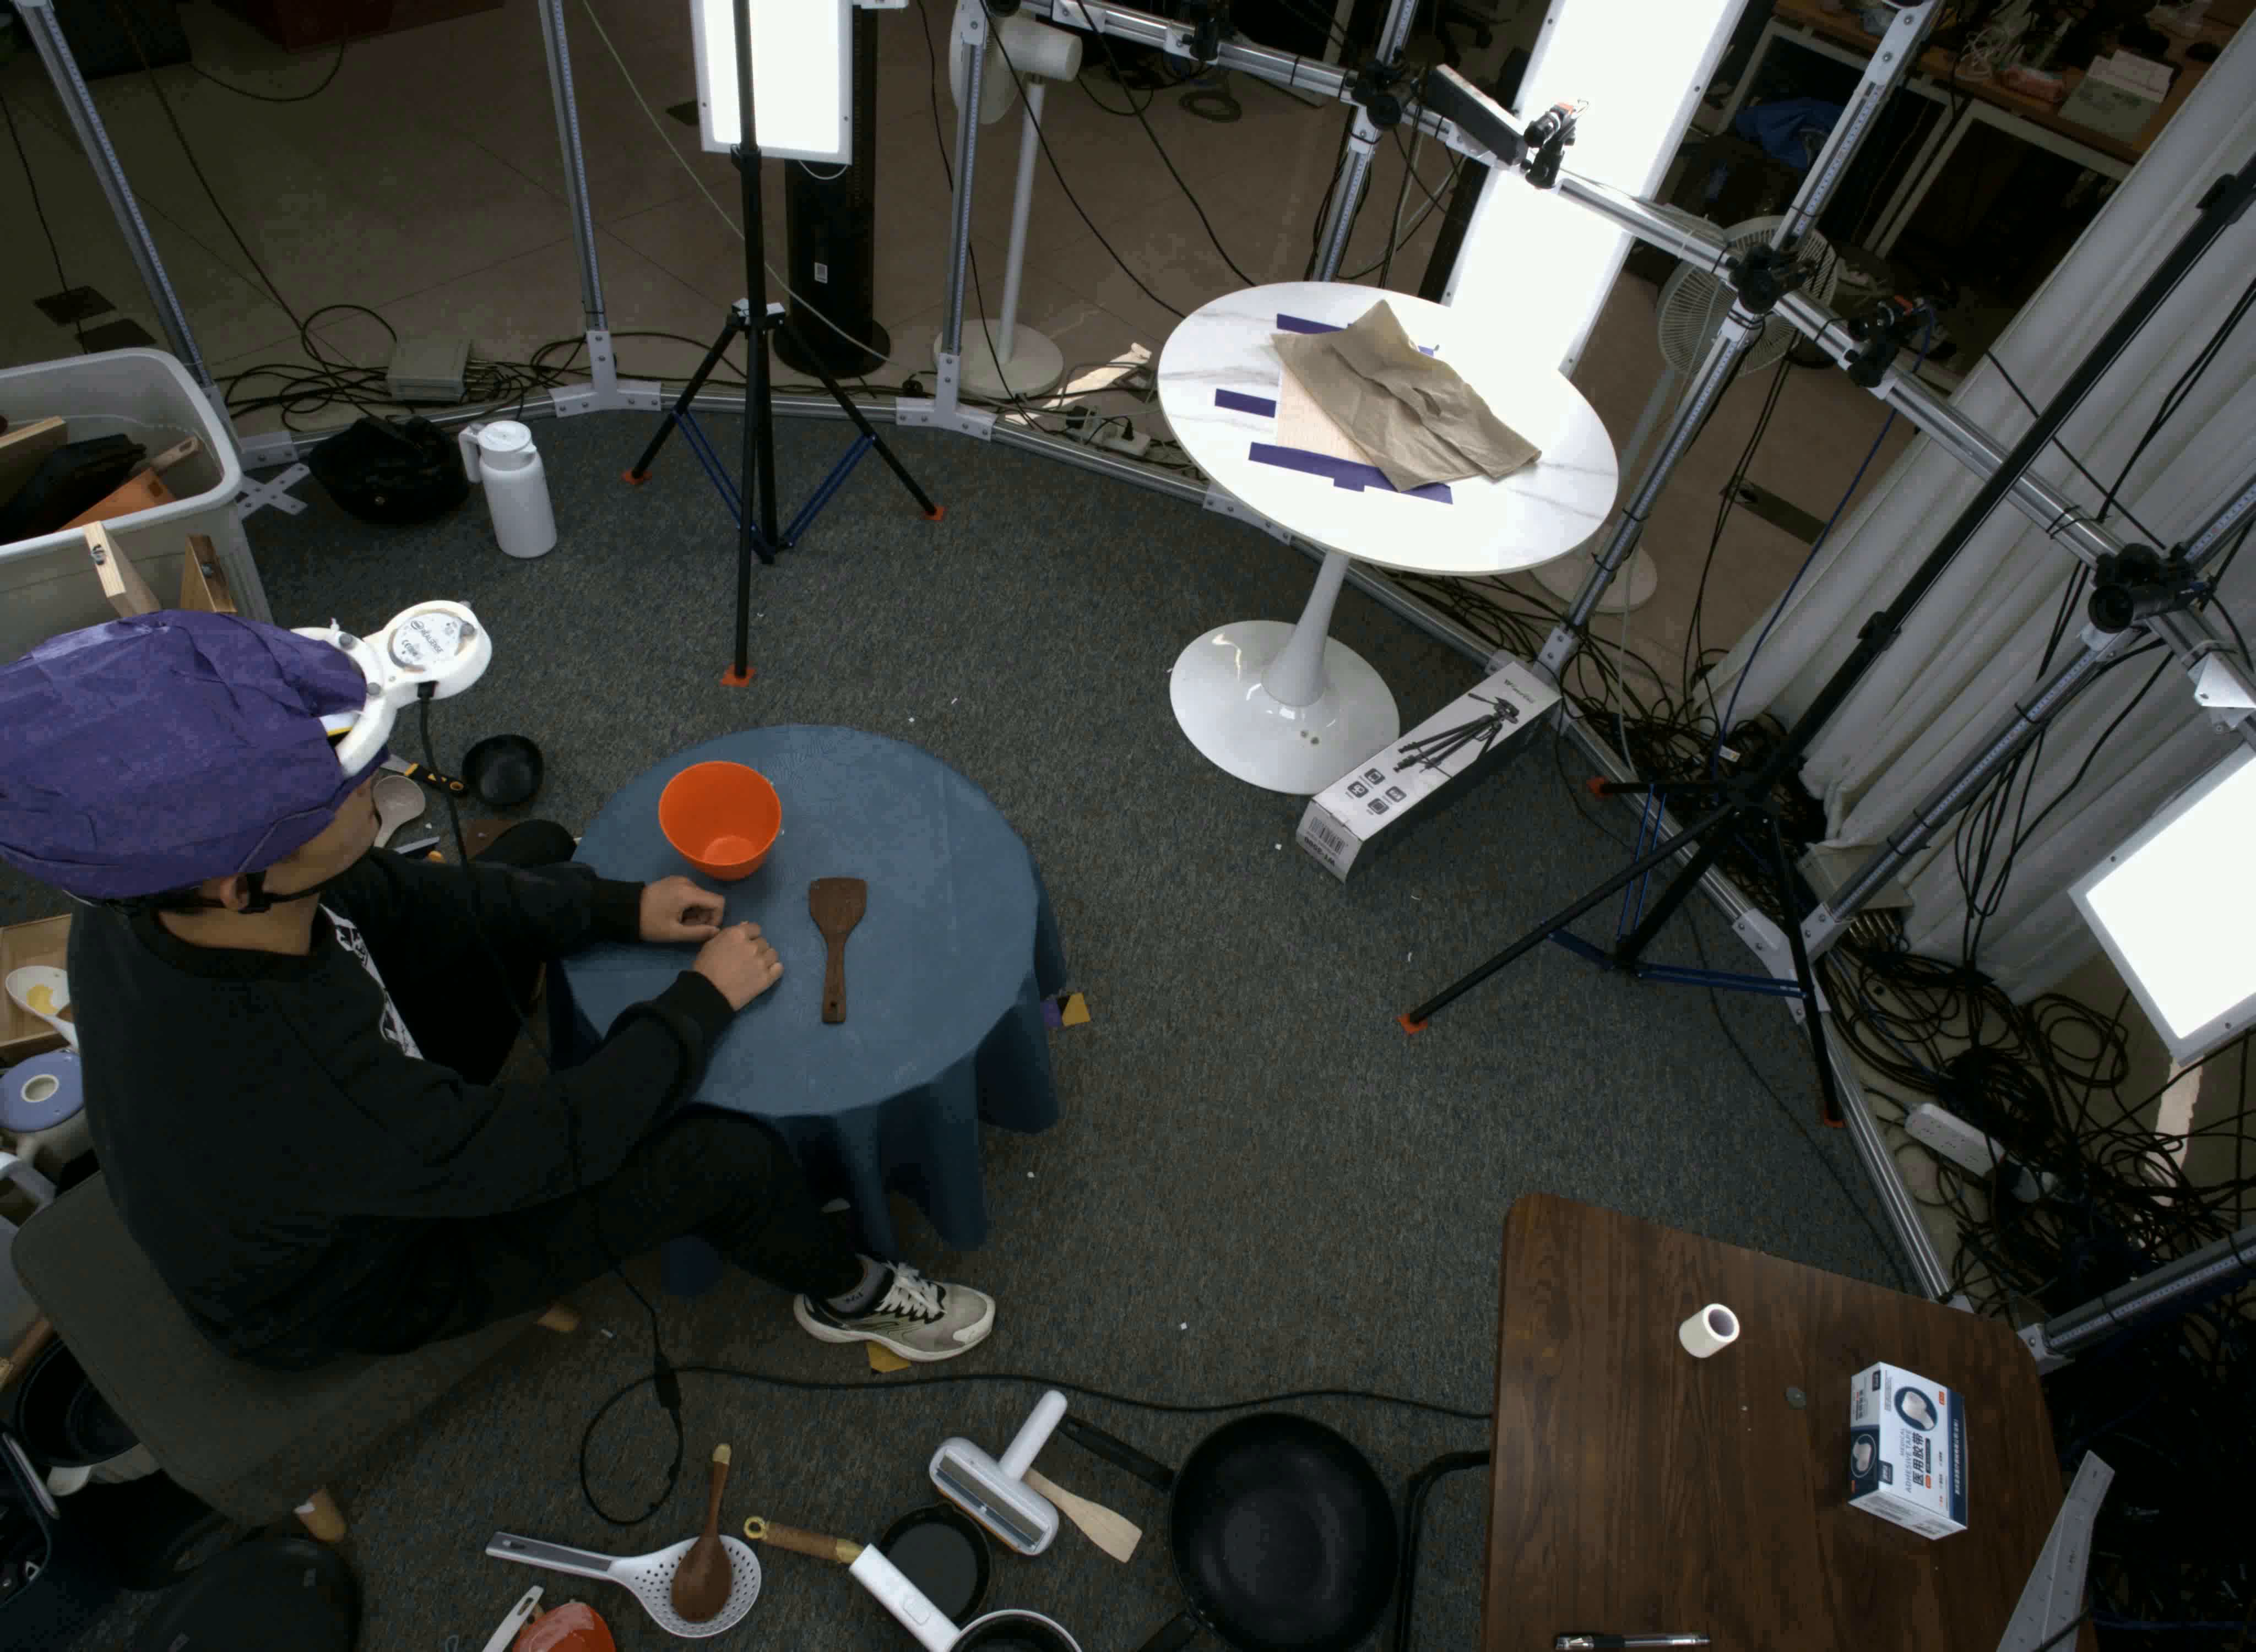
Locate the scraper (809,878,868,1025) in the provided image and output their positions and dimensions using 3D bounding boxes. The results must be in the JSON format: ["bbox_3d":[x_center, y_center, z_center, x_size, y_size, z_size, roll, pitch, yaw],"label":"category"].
[{"bbox_3d":[-0.365,0.152,1.626,0.076,0.011,0.207,2,54,-12],"label":"scraper"}]

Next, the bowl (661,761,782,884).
[{"bbox_3d":[-0.511,0.006,1.637,0.148,0.107,0.145,8,51,-8],"label":"bowl"}]
